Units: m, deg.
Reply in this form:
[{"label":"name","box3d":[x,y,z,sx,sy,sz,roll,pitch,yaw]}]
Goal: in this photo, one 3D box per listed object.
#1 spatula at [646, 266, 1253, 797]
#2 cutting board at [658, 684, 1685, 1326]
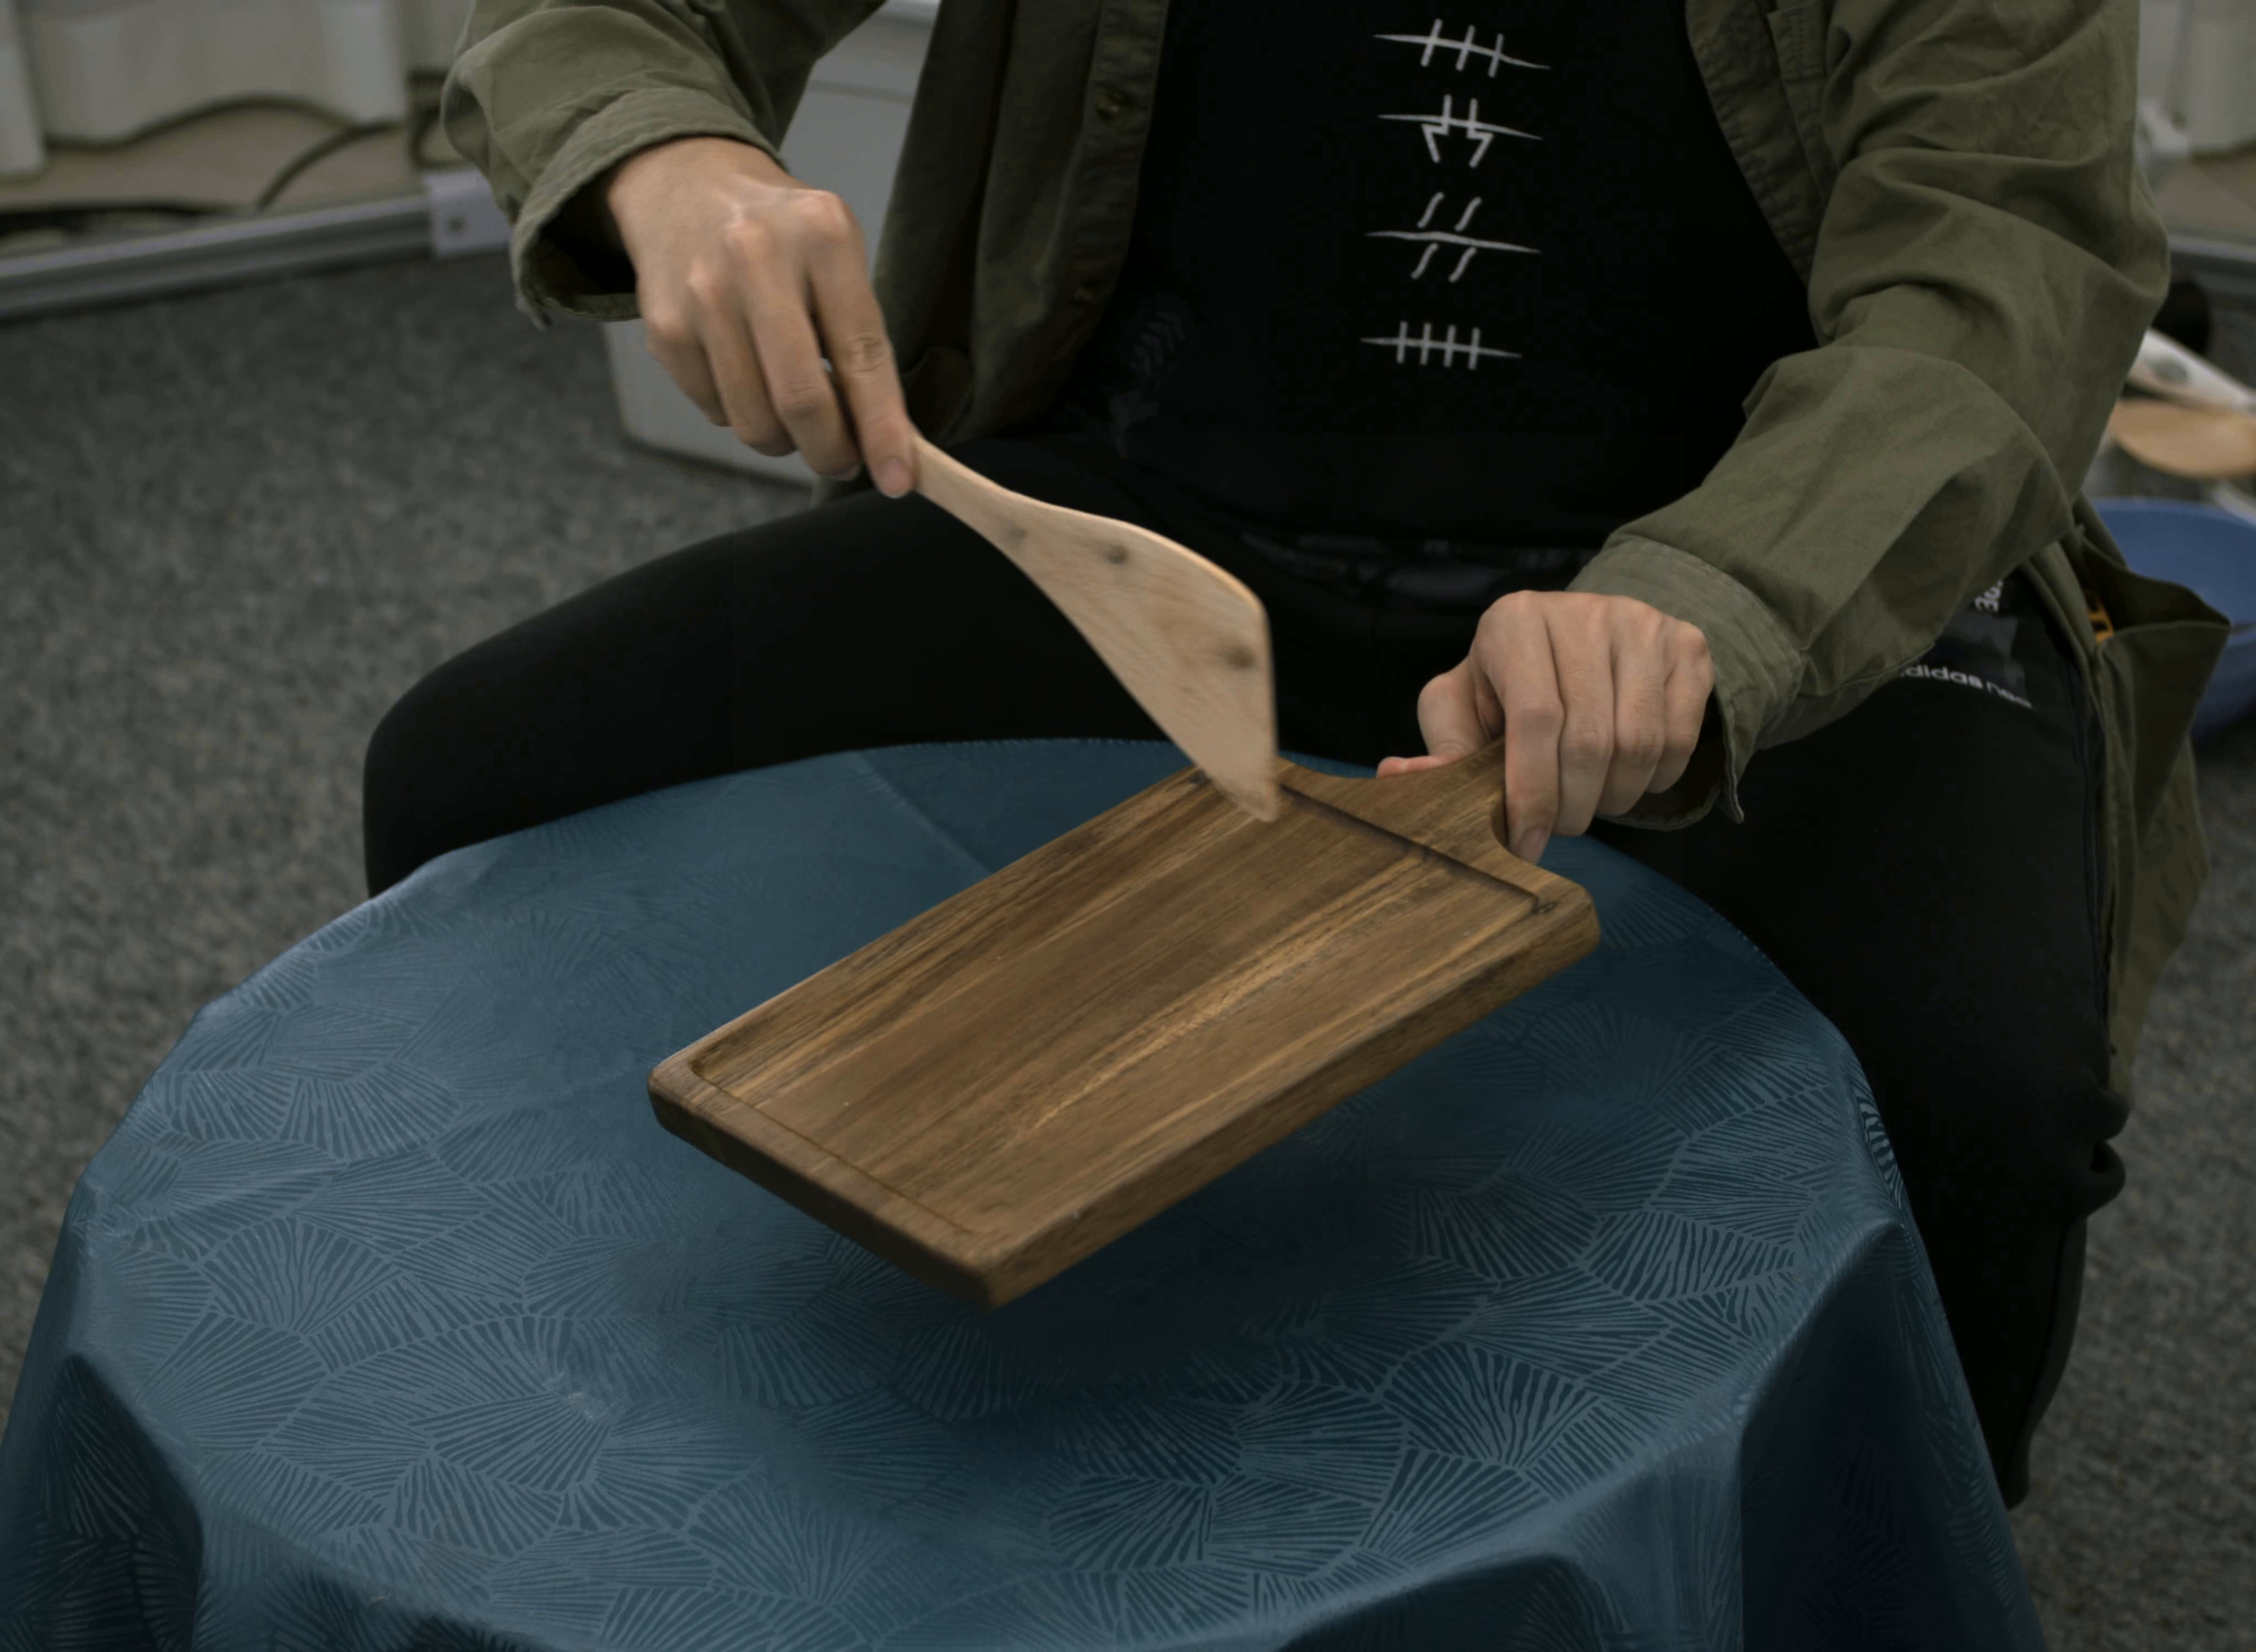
[{"label":"spatula","box3d":[-0.062,-0.113,1.867,0.017,0.079,0.328,-25,43,-34]},{"label":"cutting board","box3d":[0.041,0.040,1.790,0.355,0.023,0.201,-29,30,-26]}]
